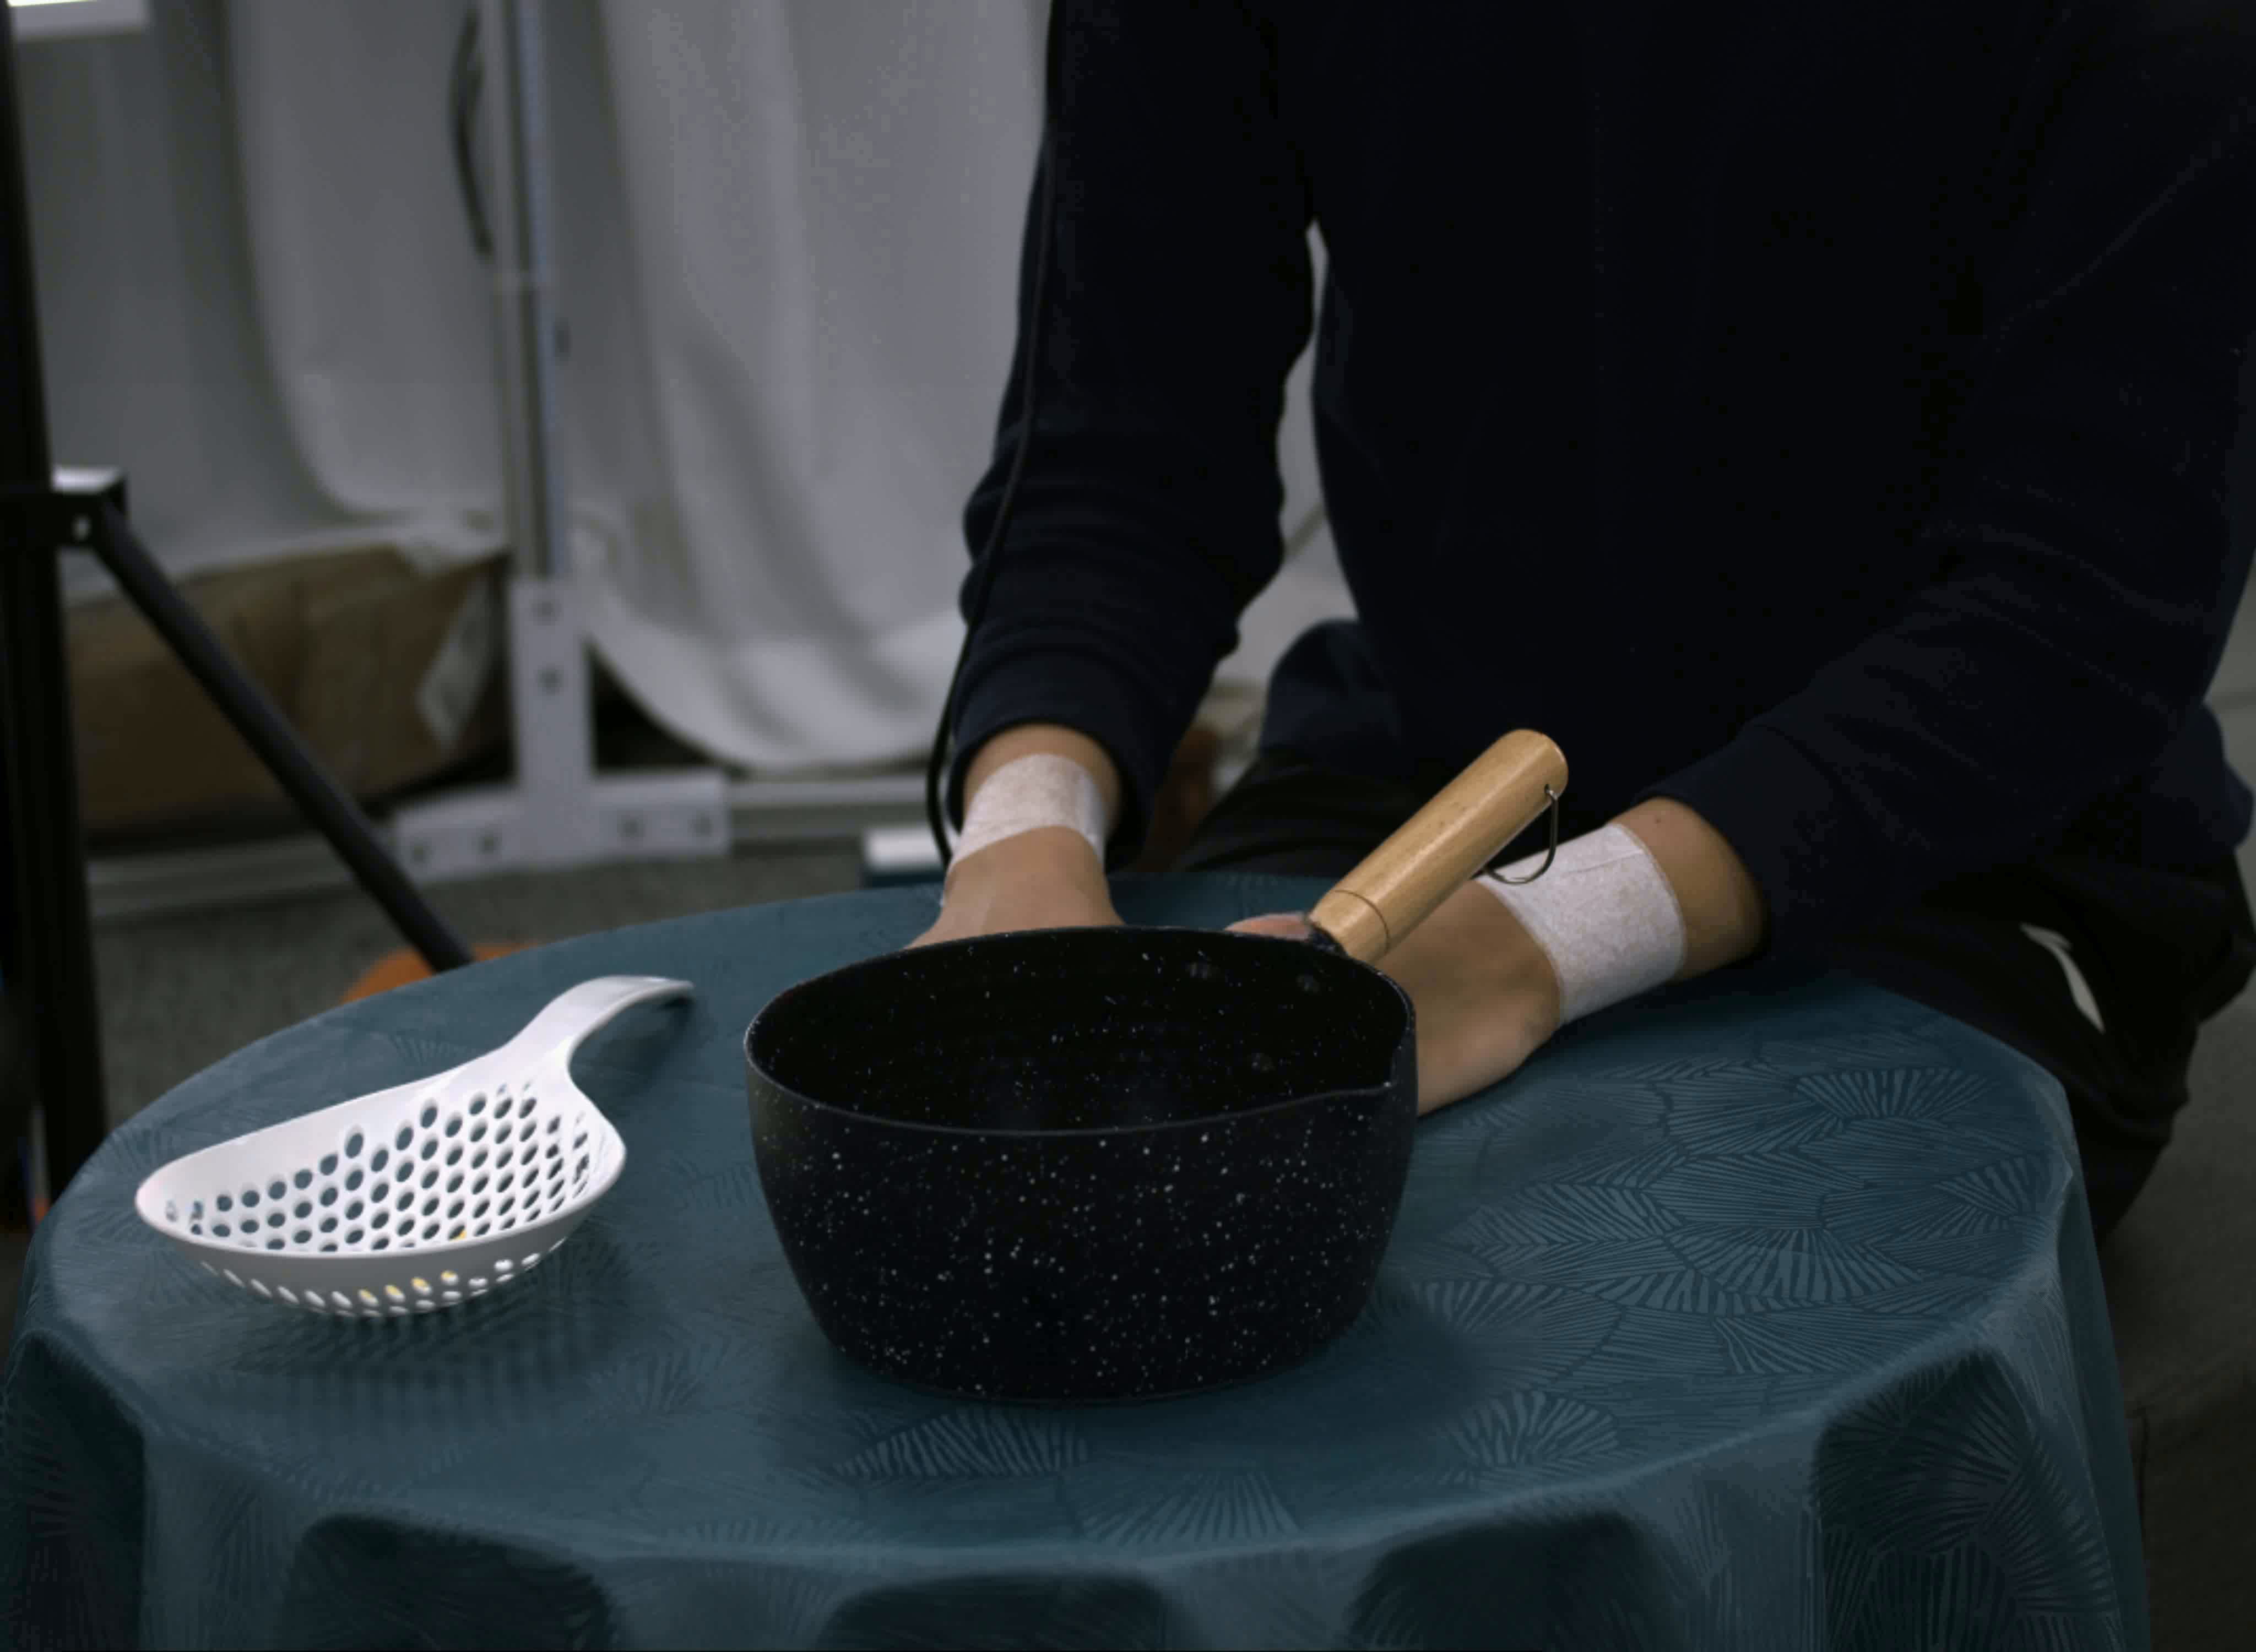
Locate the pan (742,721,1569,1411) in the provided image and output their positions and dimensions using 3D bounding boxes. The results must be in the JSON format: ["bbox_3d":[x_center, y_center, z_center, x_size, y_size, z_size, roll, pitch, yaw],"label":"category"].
[{"bbox_3d":[0.032,0.063,1.514,0.211,0.108,0.336,7,19,34],"label":"pan"}]

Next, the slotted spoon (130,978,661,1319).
[{"bbox_3d":[-0.186,0.083,1.599,0.137,0.050,0.346,-1,17,12],"label":"slotted spoon"}]
